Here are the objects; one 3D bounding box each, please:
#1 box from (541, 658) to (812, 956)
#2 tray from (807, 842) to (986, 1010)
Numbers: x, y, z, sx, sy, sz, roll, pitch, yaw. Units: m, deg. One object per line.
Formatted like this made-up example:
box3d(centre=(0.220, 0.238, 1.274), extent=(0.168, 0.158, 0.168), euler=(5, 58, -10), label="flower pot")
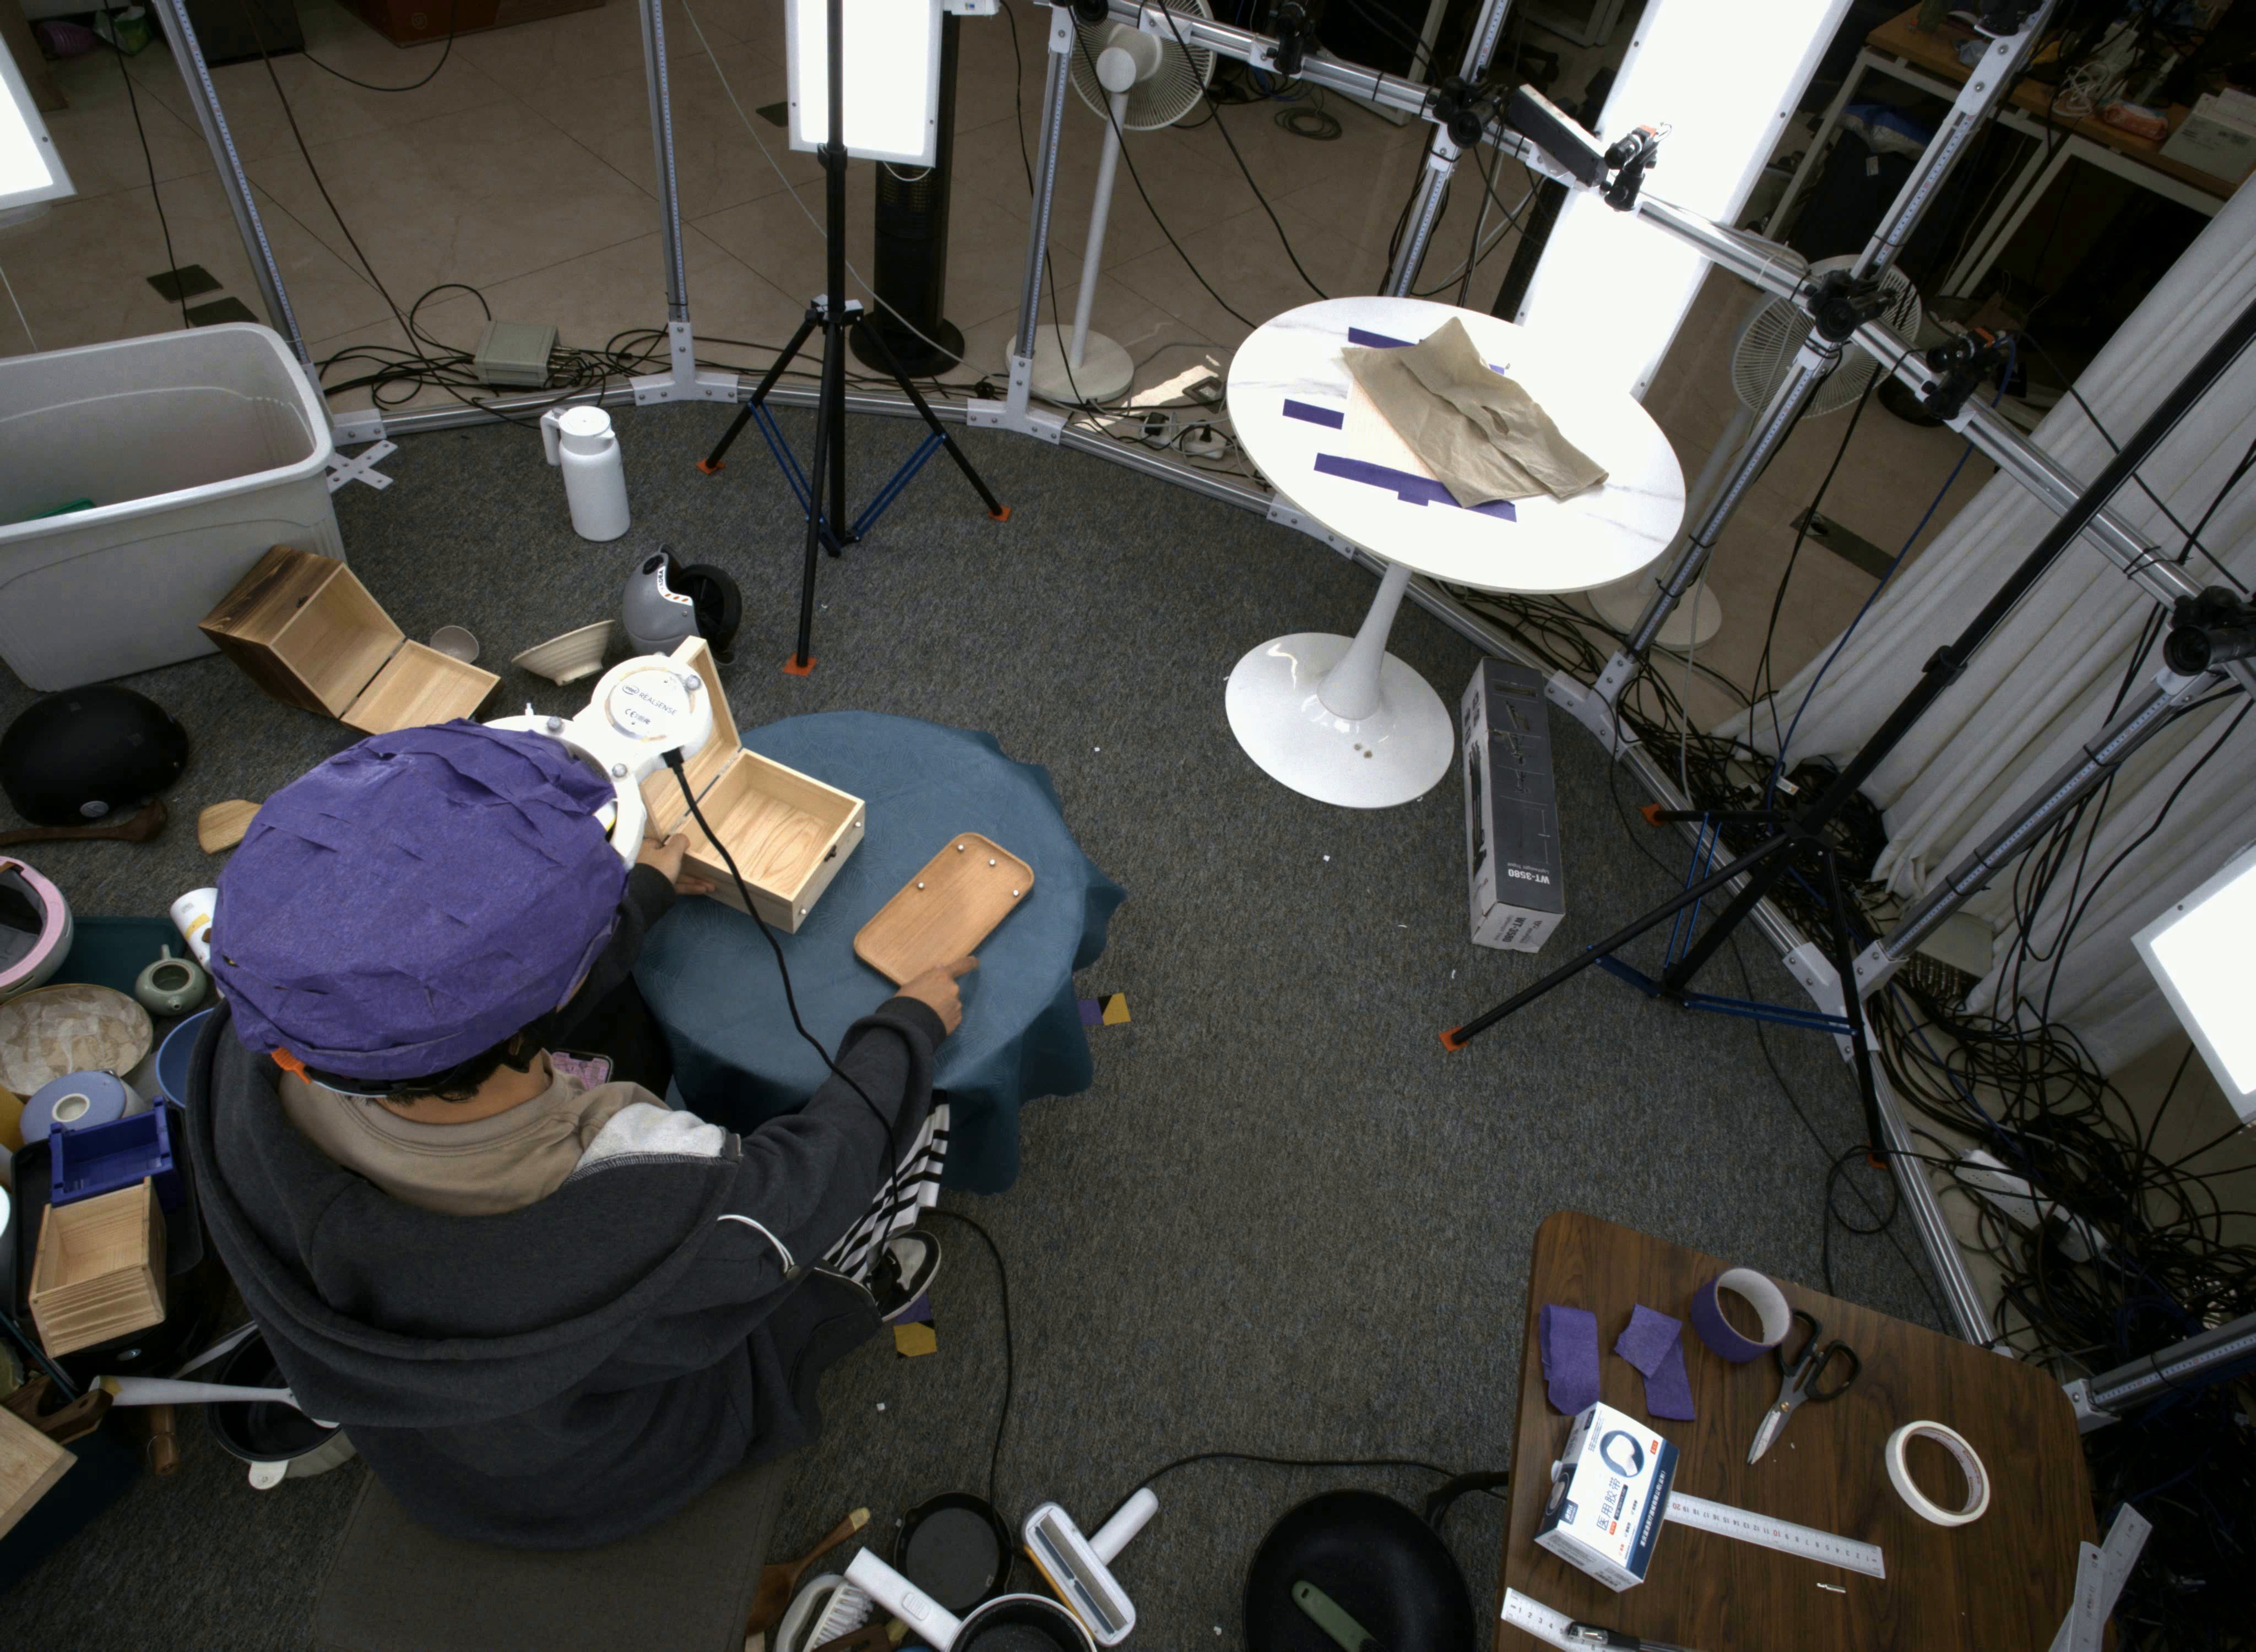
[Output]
box3d(centre=(-0.542, -0.023, 1.557), extent=(0.262, 0.259, 0.180), euler=(19, 53, 3), label="box")
box3d(centre=(-0.291, 0.123, 1.658), extent=(0.128, 0.023, 0.250), euler=(28, 52, 12), label="tray")
